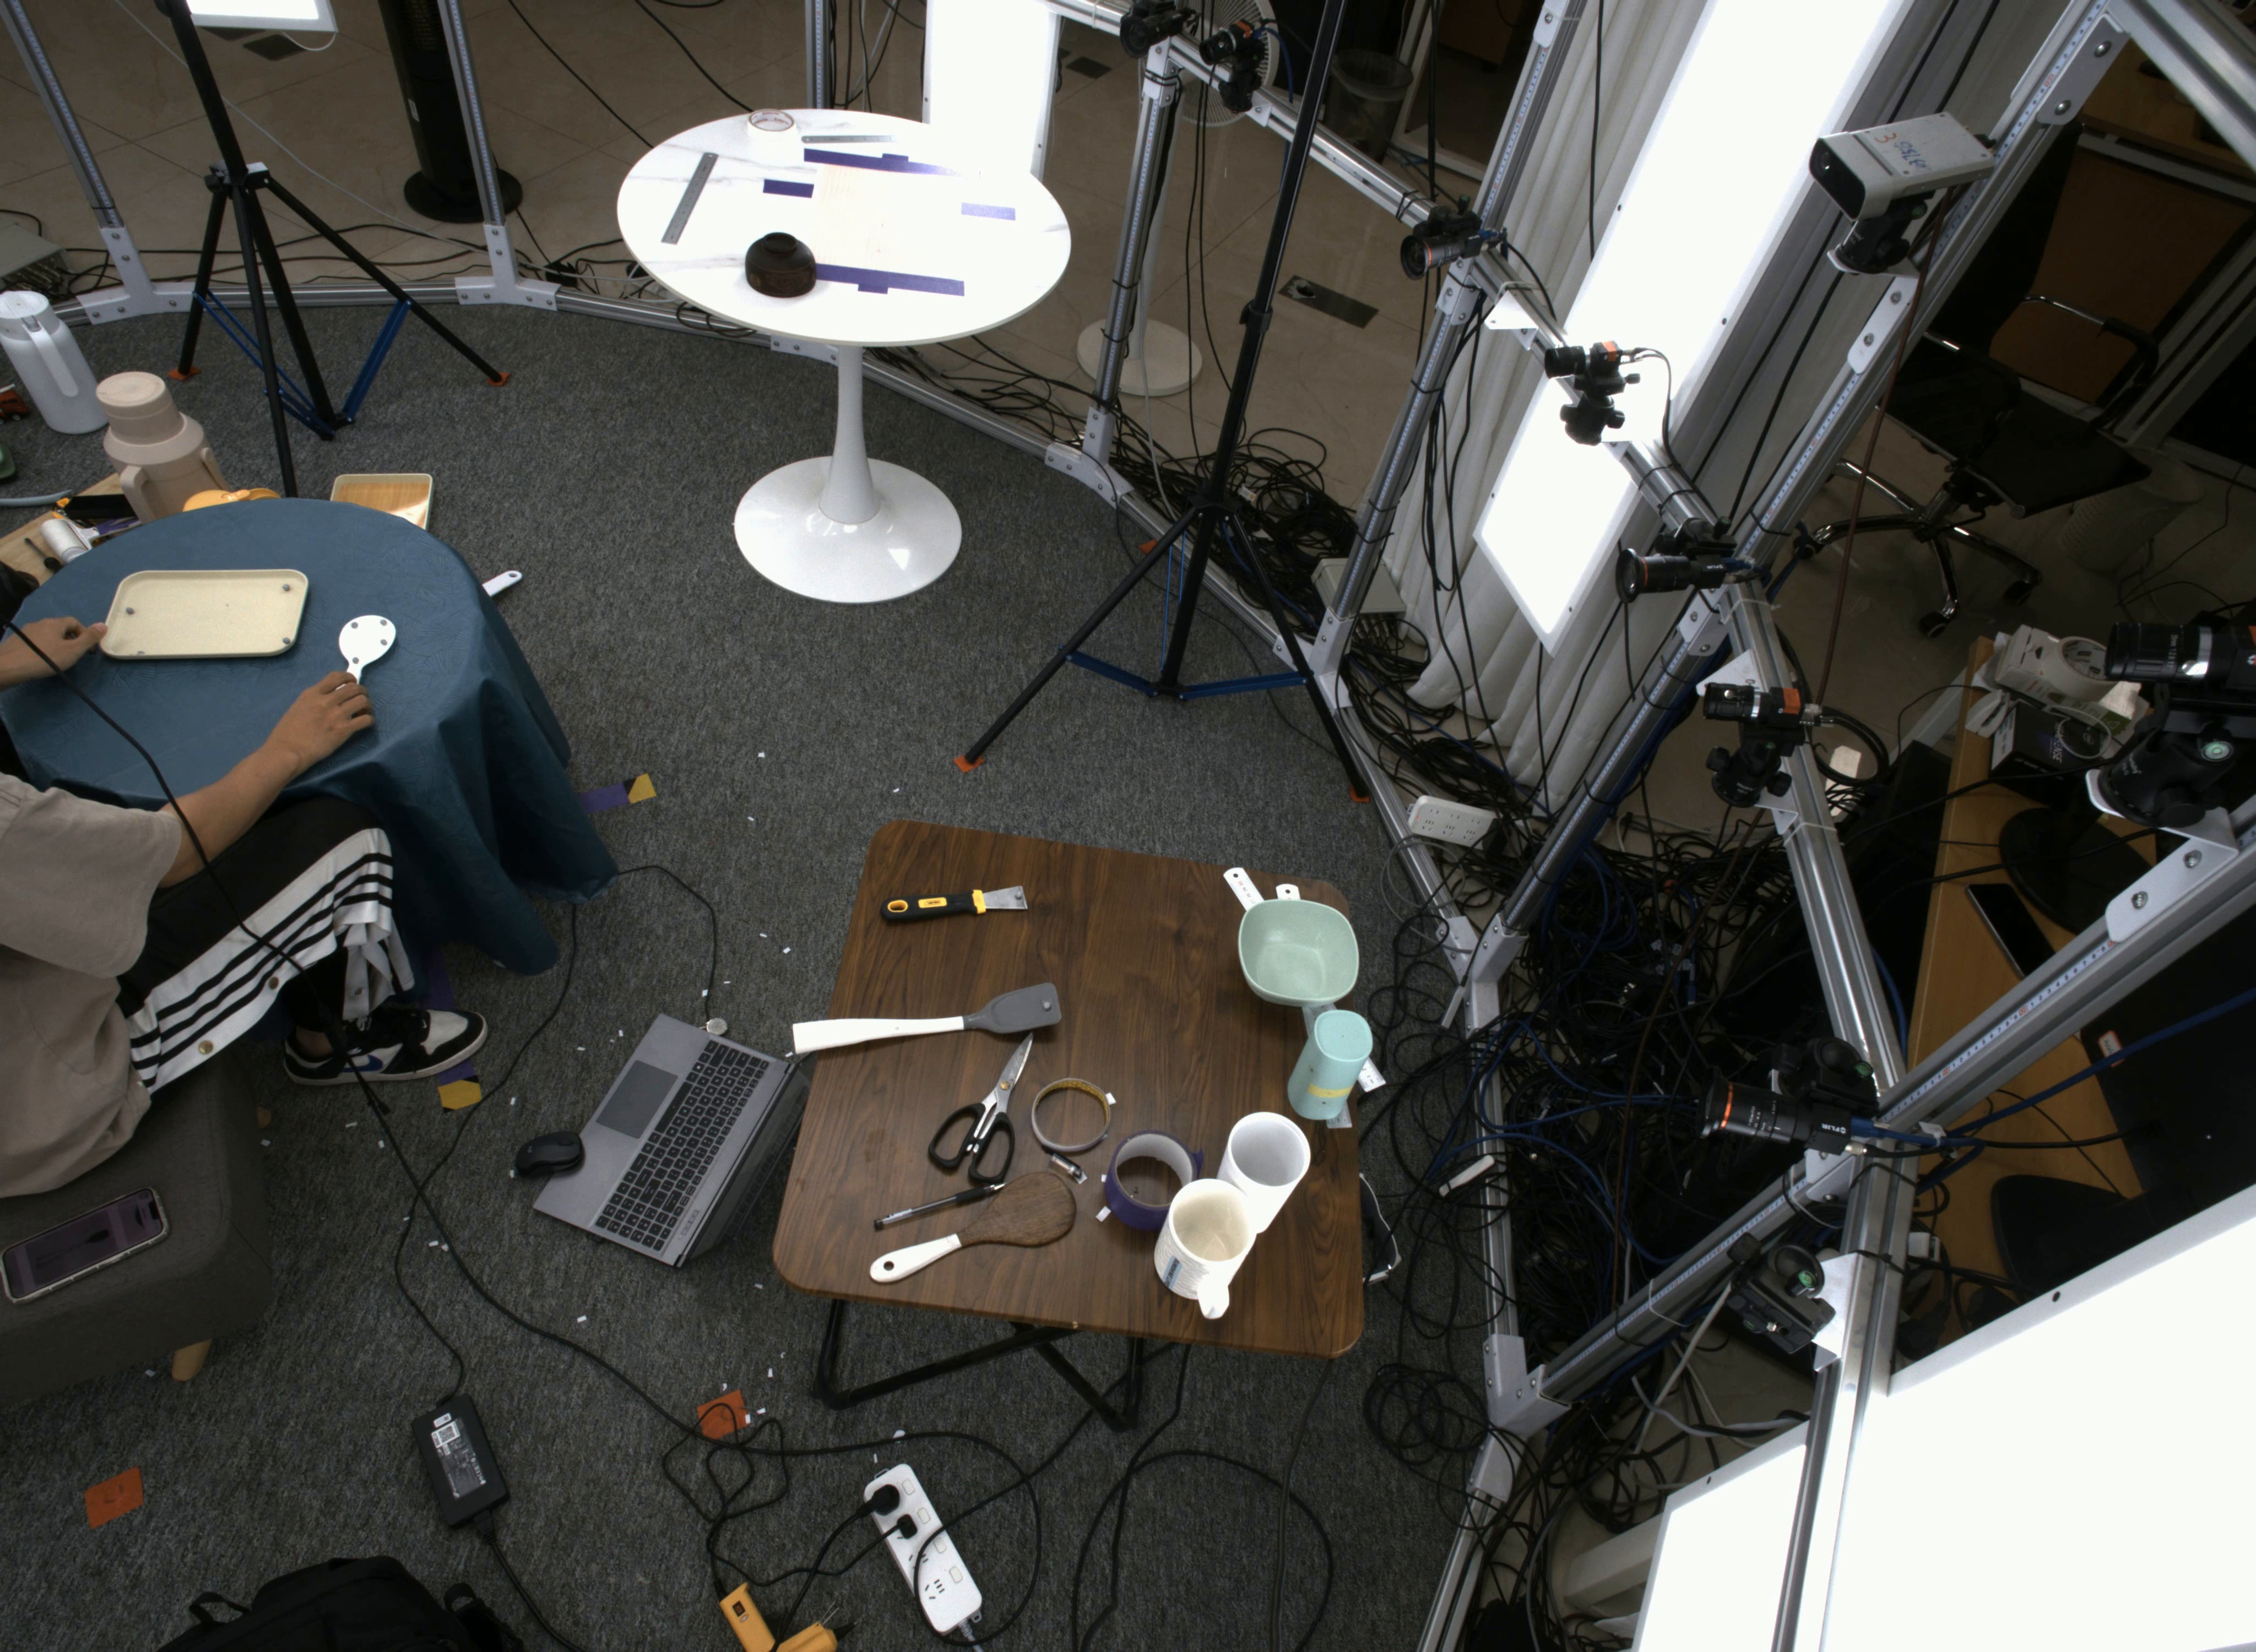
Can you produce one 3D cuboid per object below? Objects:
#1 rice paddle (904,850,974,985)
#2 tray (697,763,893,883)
[{"bbox_3d":[-0.247,0.108,1.675,0.069,0.030,0.202,18,52,-8],"label":"rice paddle"},{"bbox_3d":[-0.440,-0.004,1.723,0.239,0.018,0.168,8,52,-7],"label":"tray"}]
